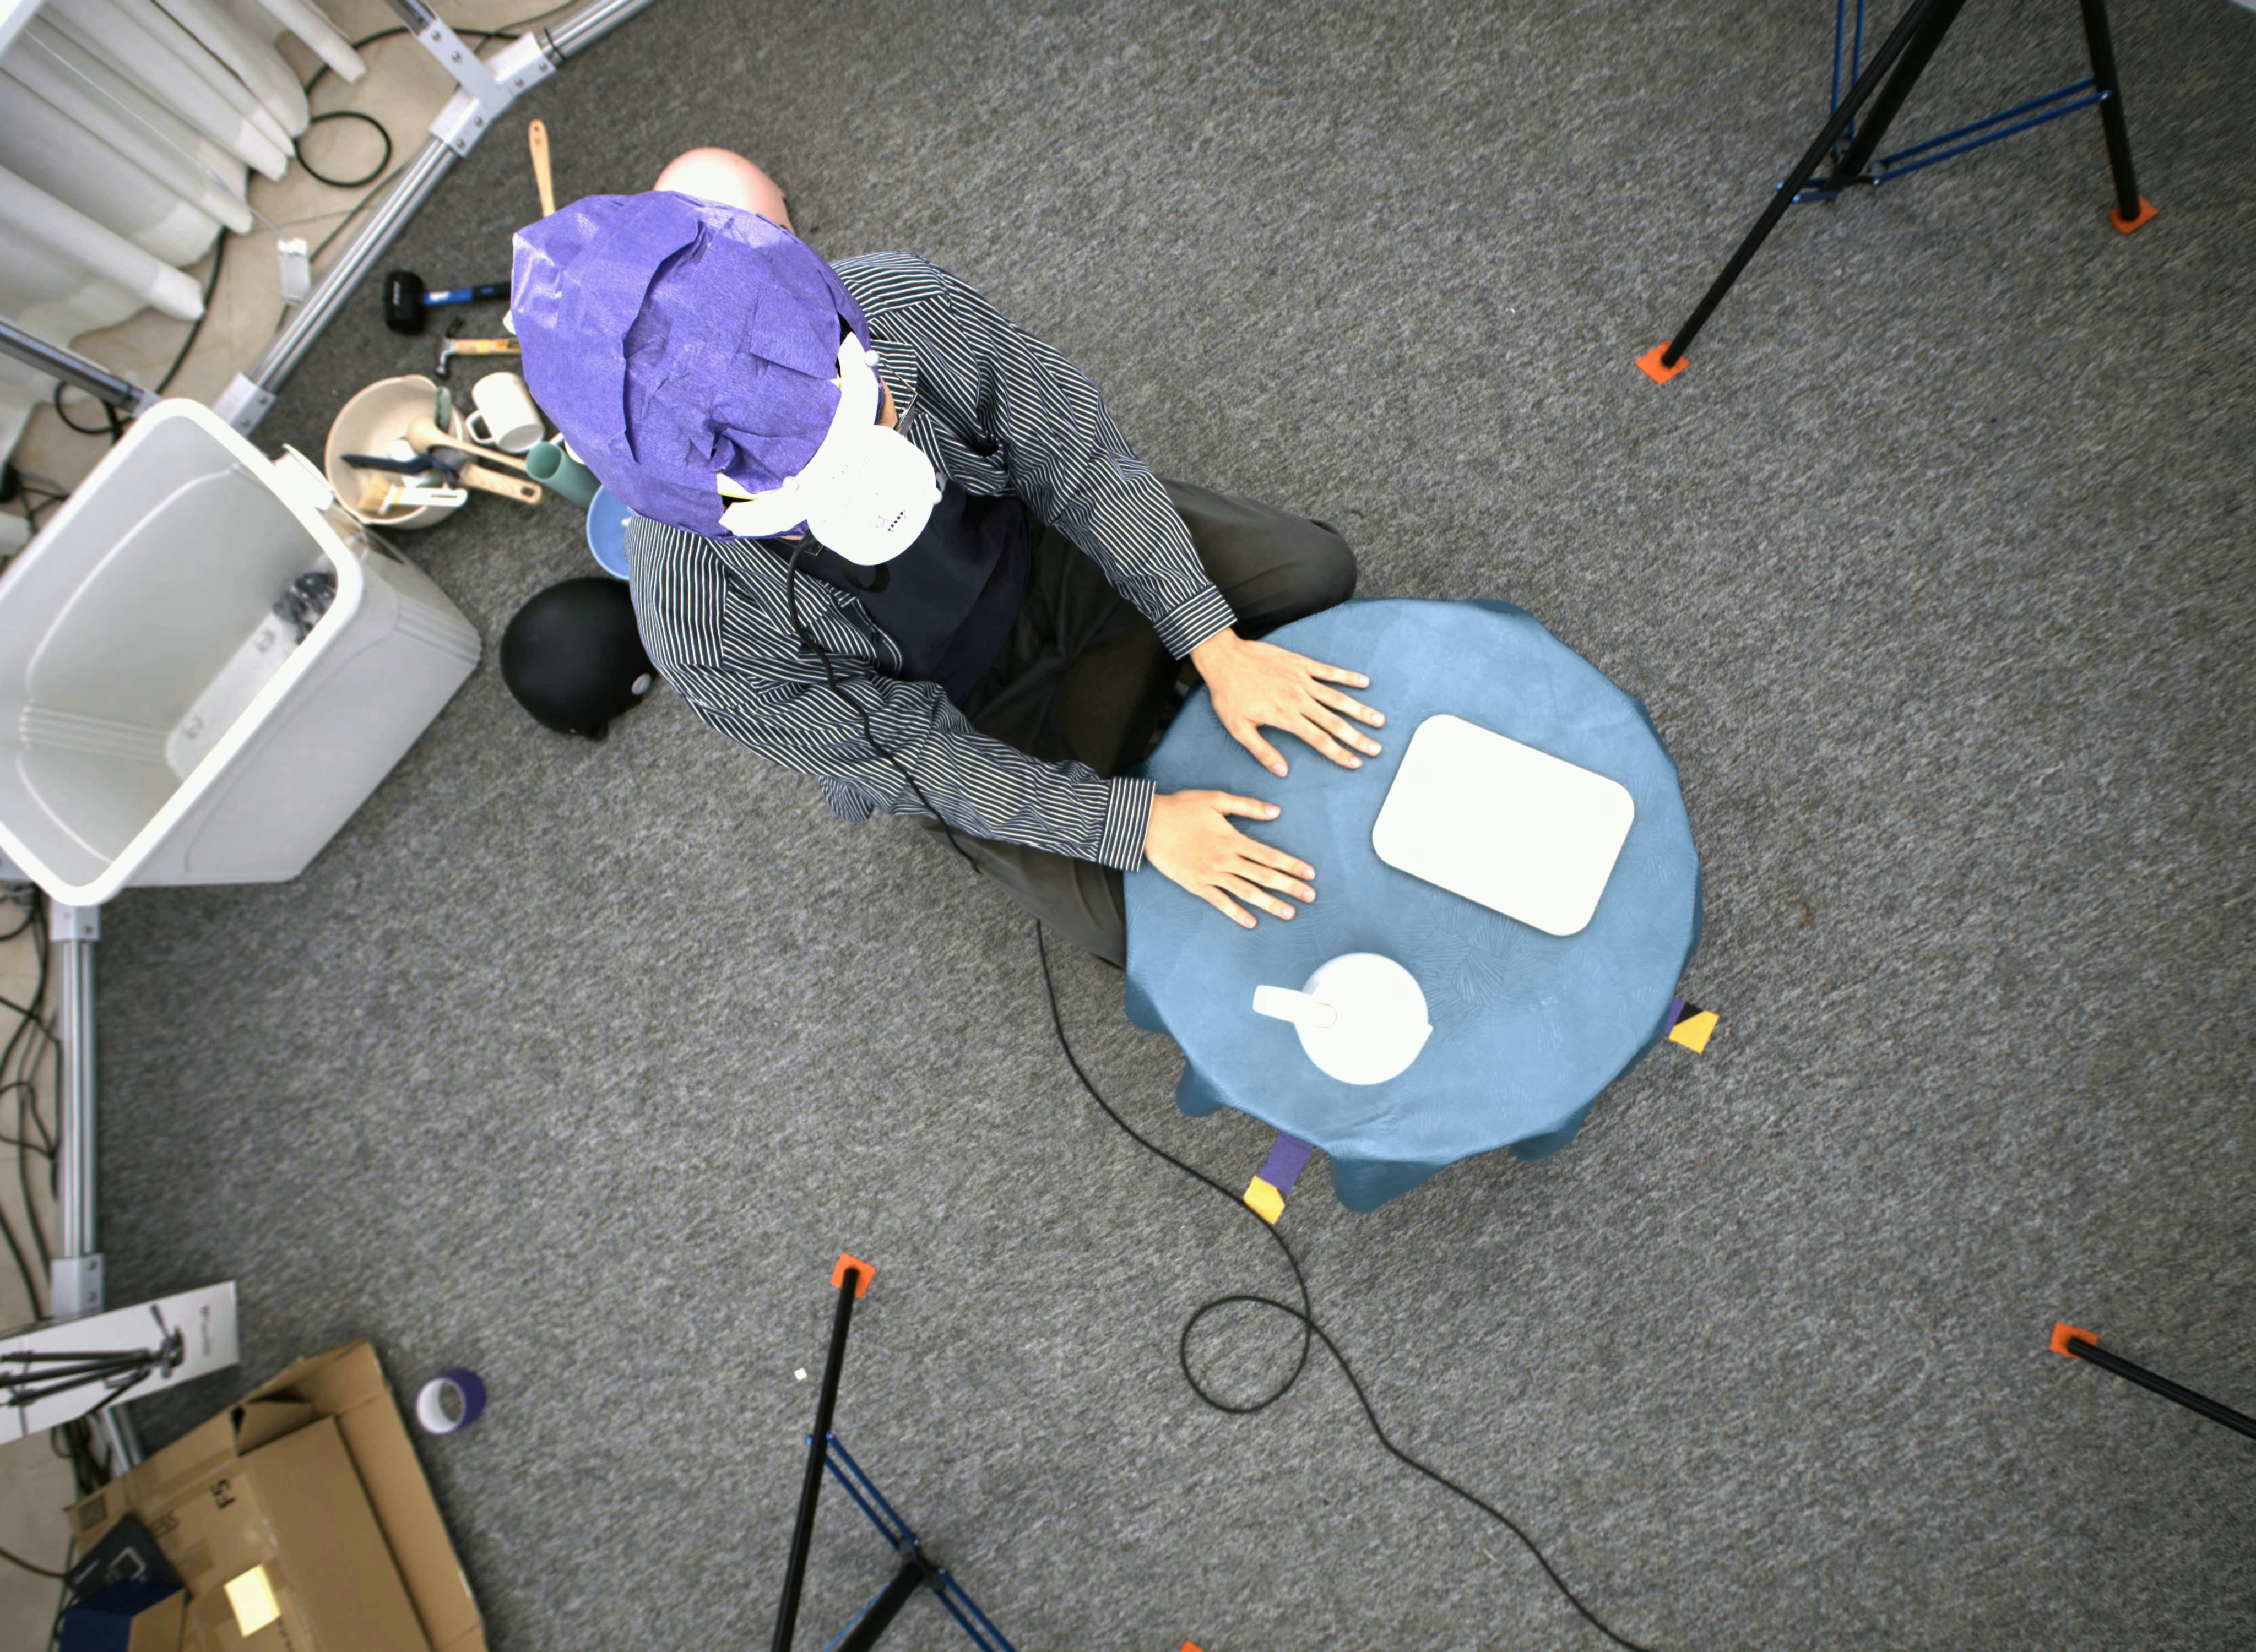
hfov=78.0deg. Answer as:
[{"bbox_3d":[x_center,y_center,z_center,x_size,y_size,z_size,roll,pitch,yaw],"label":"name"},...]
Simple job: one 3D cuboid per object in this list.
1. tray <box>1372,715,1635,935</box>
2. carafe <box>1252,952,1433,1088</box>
[{"bbox_3d":[0.387,-0.004,1.422,0.239,0.017,0.171,23,91,10],"label":"tray"},{"bbox_3d":[0.205,0.185,1.328,0.168,0.248,0.132,6,87,11],"label":"carafe"}]
